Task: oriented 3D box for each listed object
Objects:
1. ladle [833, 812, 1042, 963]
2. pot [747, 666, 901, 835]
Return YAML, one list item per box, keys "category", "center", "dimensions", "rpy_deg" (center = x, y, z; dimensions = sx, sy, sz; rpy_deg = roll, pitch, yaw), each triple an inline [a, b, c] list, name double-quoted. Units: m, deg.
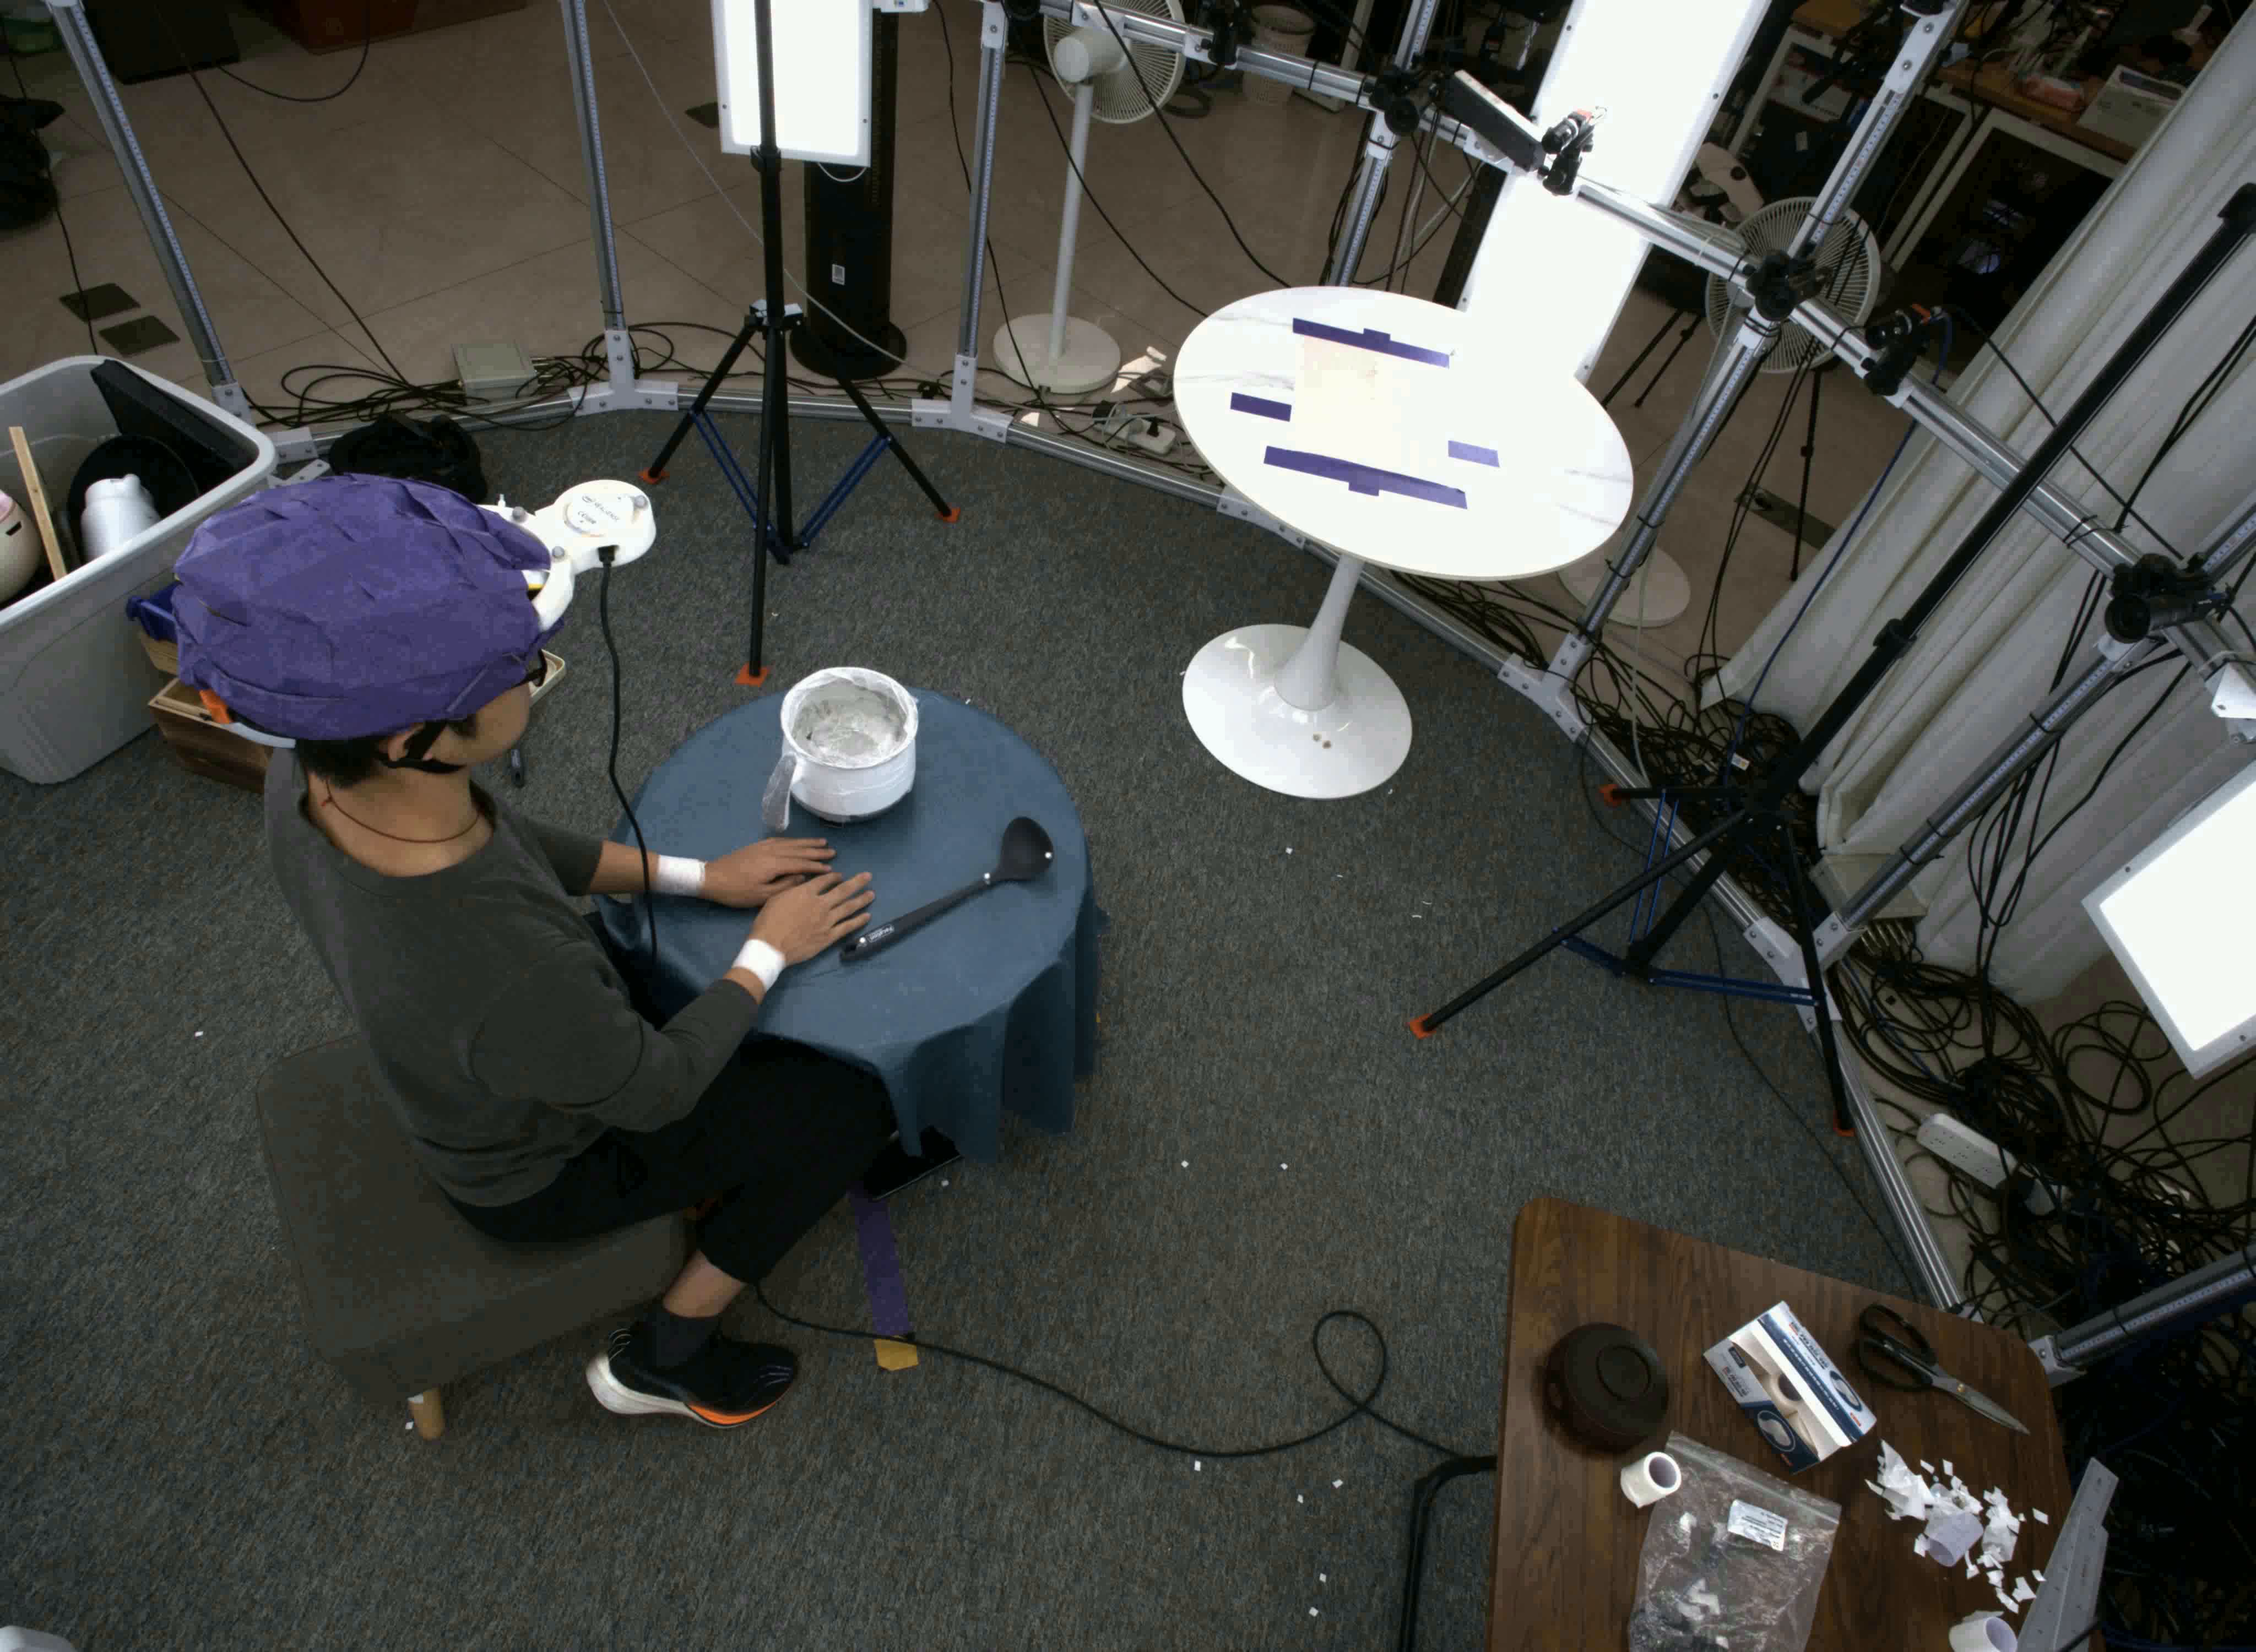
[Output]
- category: "ladle"
  center: [-0.247, 0.082, 1.679]
  dimensions: [0.315, 0.065, 0.084]
  rpy_deg: [-30, 60, -30]
- category: "pot"
  center: [-0.409, -0.088, 1.716]
  dimensions: [0.175, 0.139, 0.233]
  rpy_deg: [35, 54, 14]
